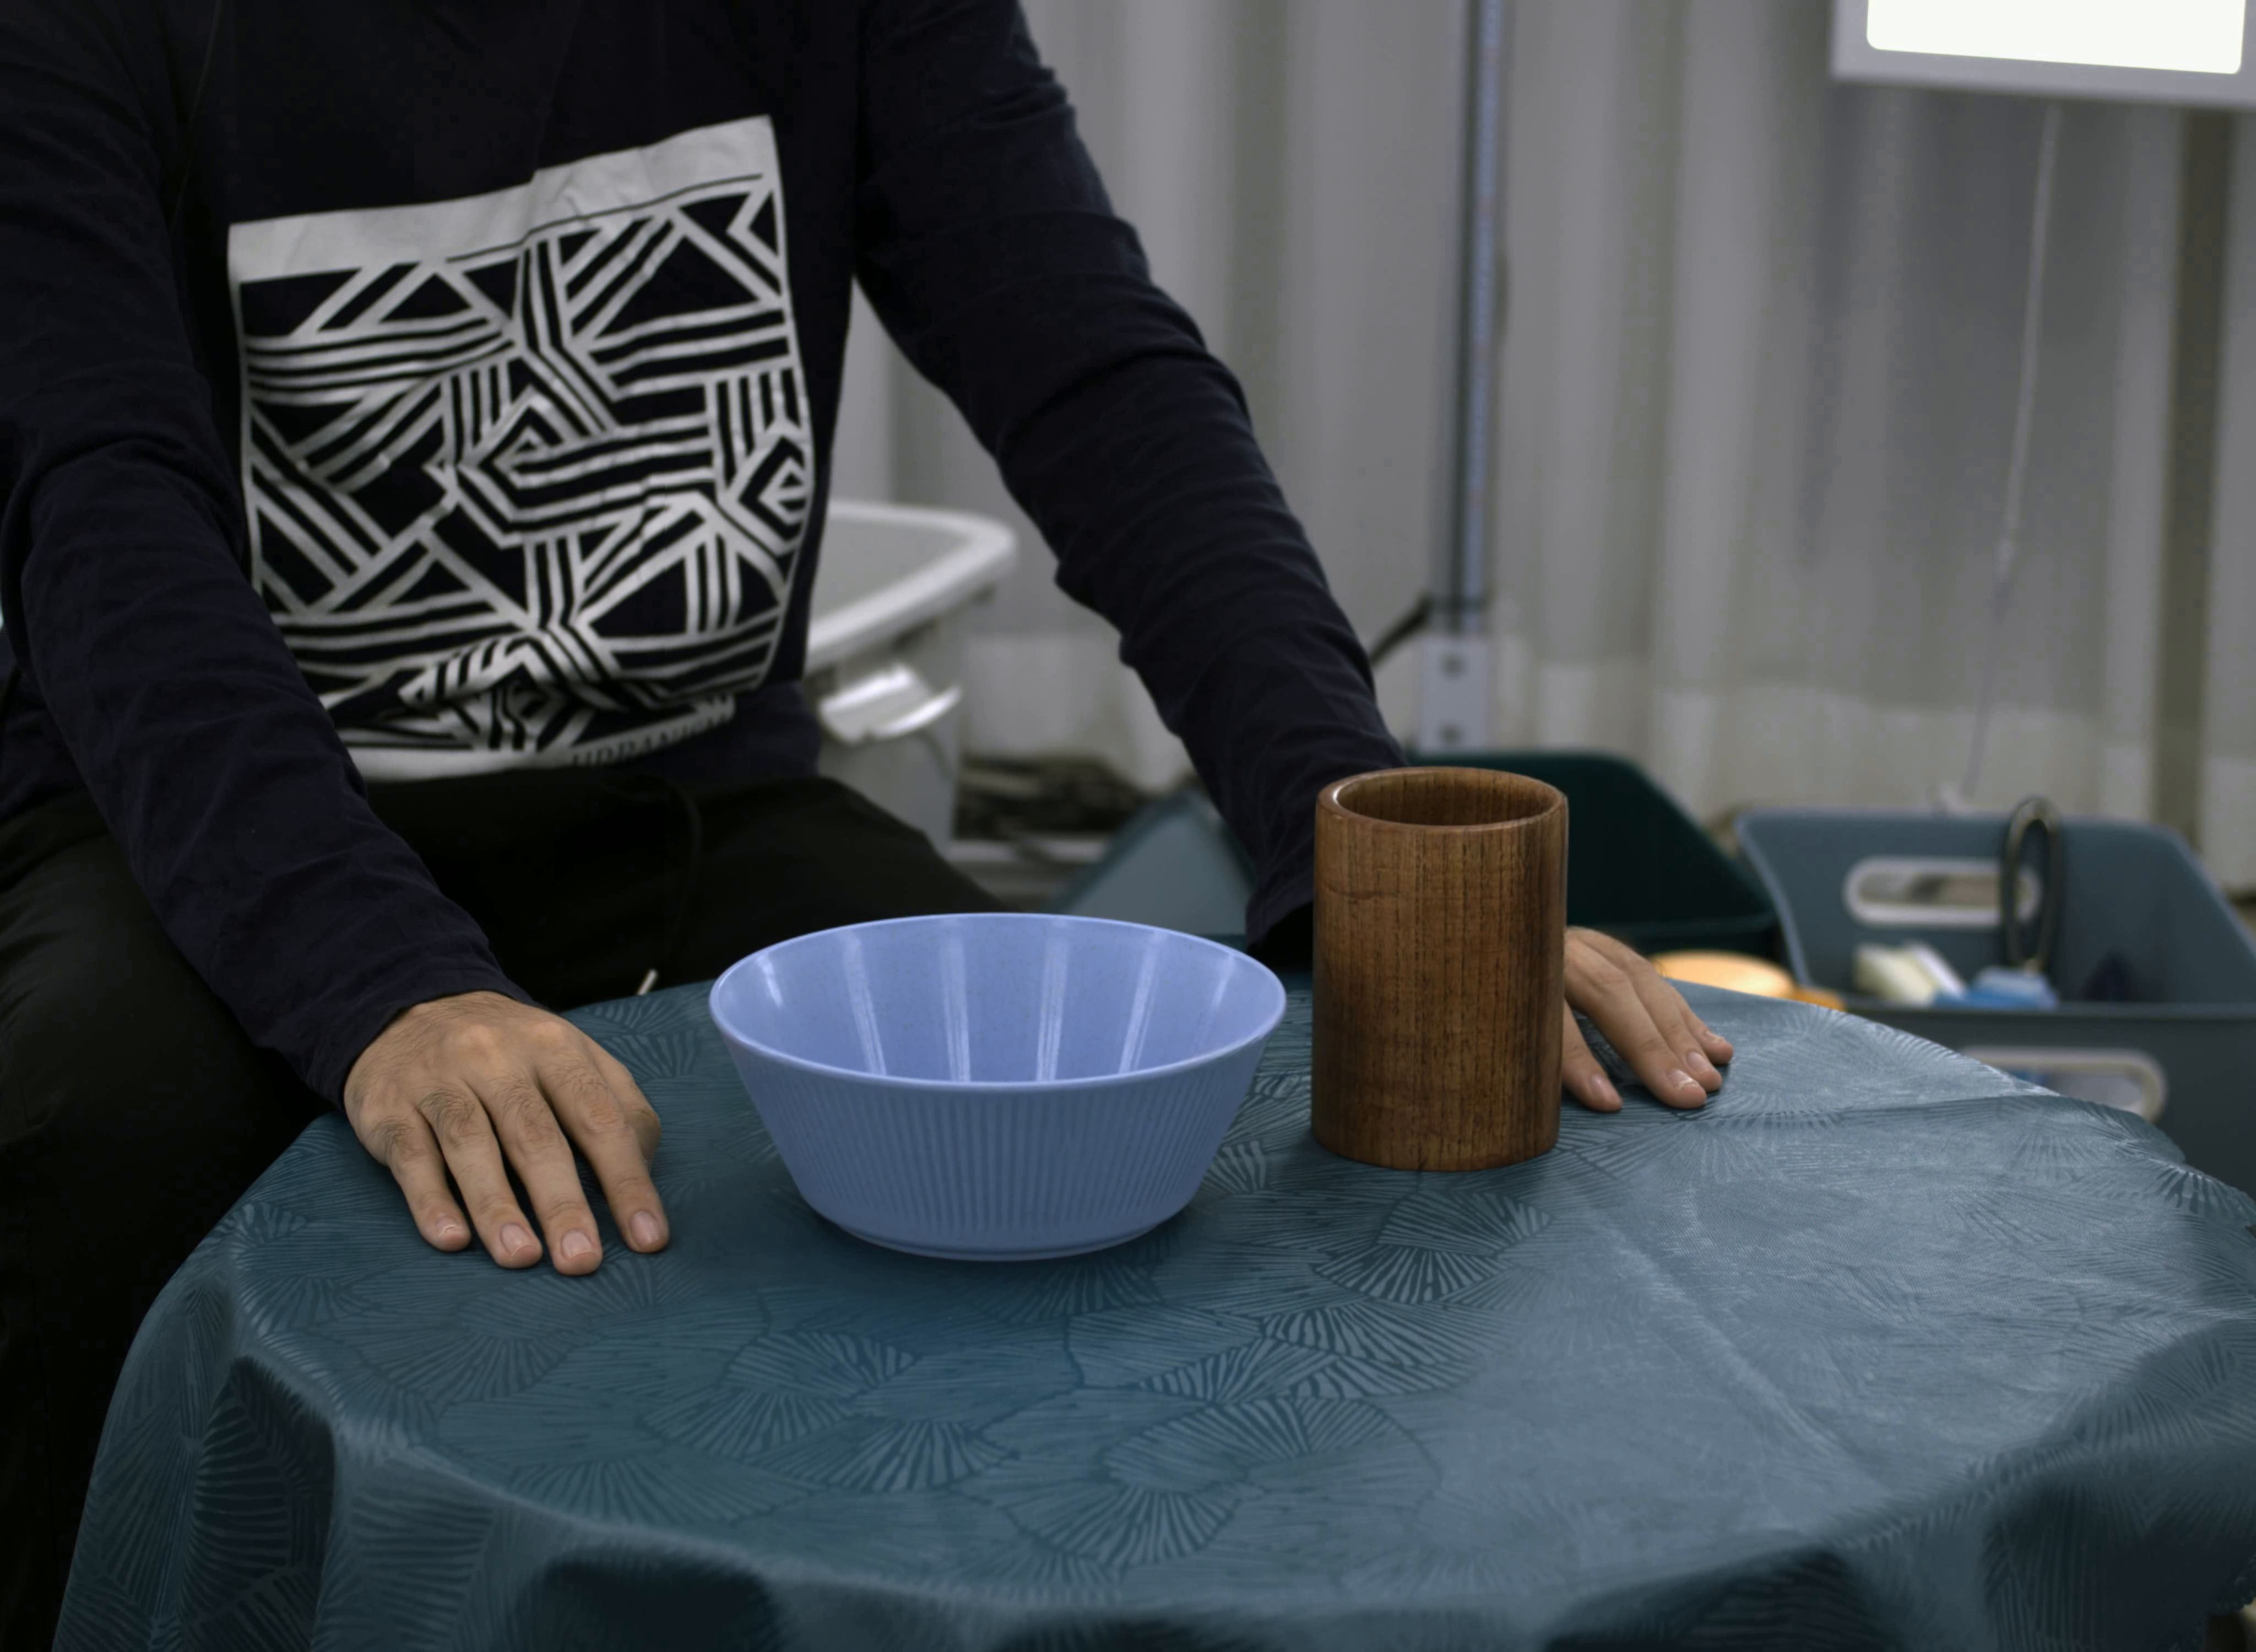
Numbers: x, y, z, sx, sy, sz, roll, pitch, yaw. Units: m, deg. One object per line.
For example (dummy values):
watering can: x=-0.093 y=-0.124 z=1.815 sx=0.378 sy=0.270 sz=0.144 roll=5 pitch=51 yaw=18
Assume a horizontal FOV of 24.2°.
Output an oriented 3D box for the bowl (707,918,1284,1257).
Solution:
bowl: x=-0.040 y=0.082 z=1.604 sx=0.175 sy=0.071 sz=0.175 roll=1 pitch=15 yaw=0

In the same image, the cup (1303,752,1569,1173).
cup: x=0.098 y=0.042 z=1.664 sx=0.087 sy=0.119 sz=0.087 roll=0 pitch=14 yaw=0
